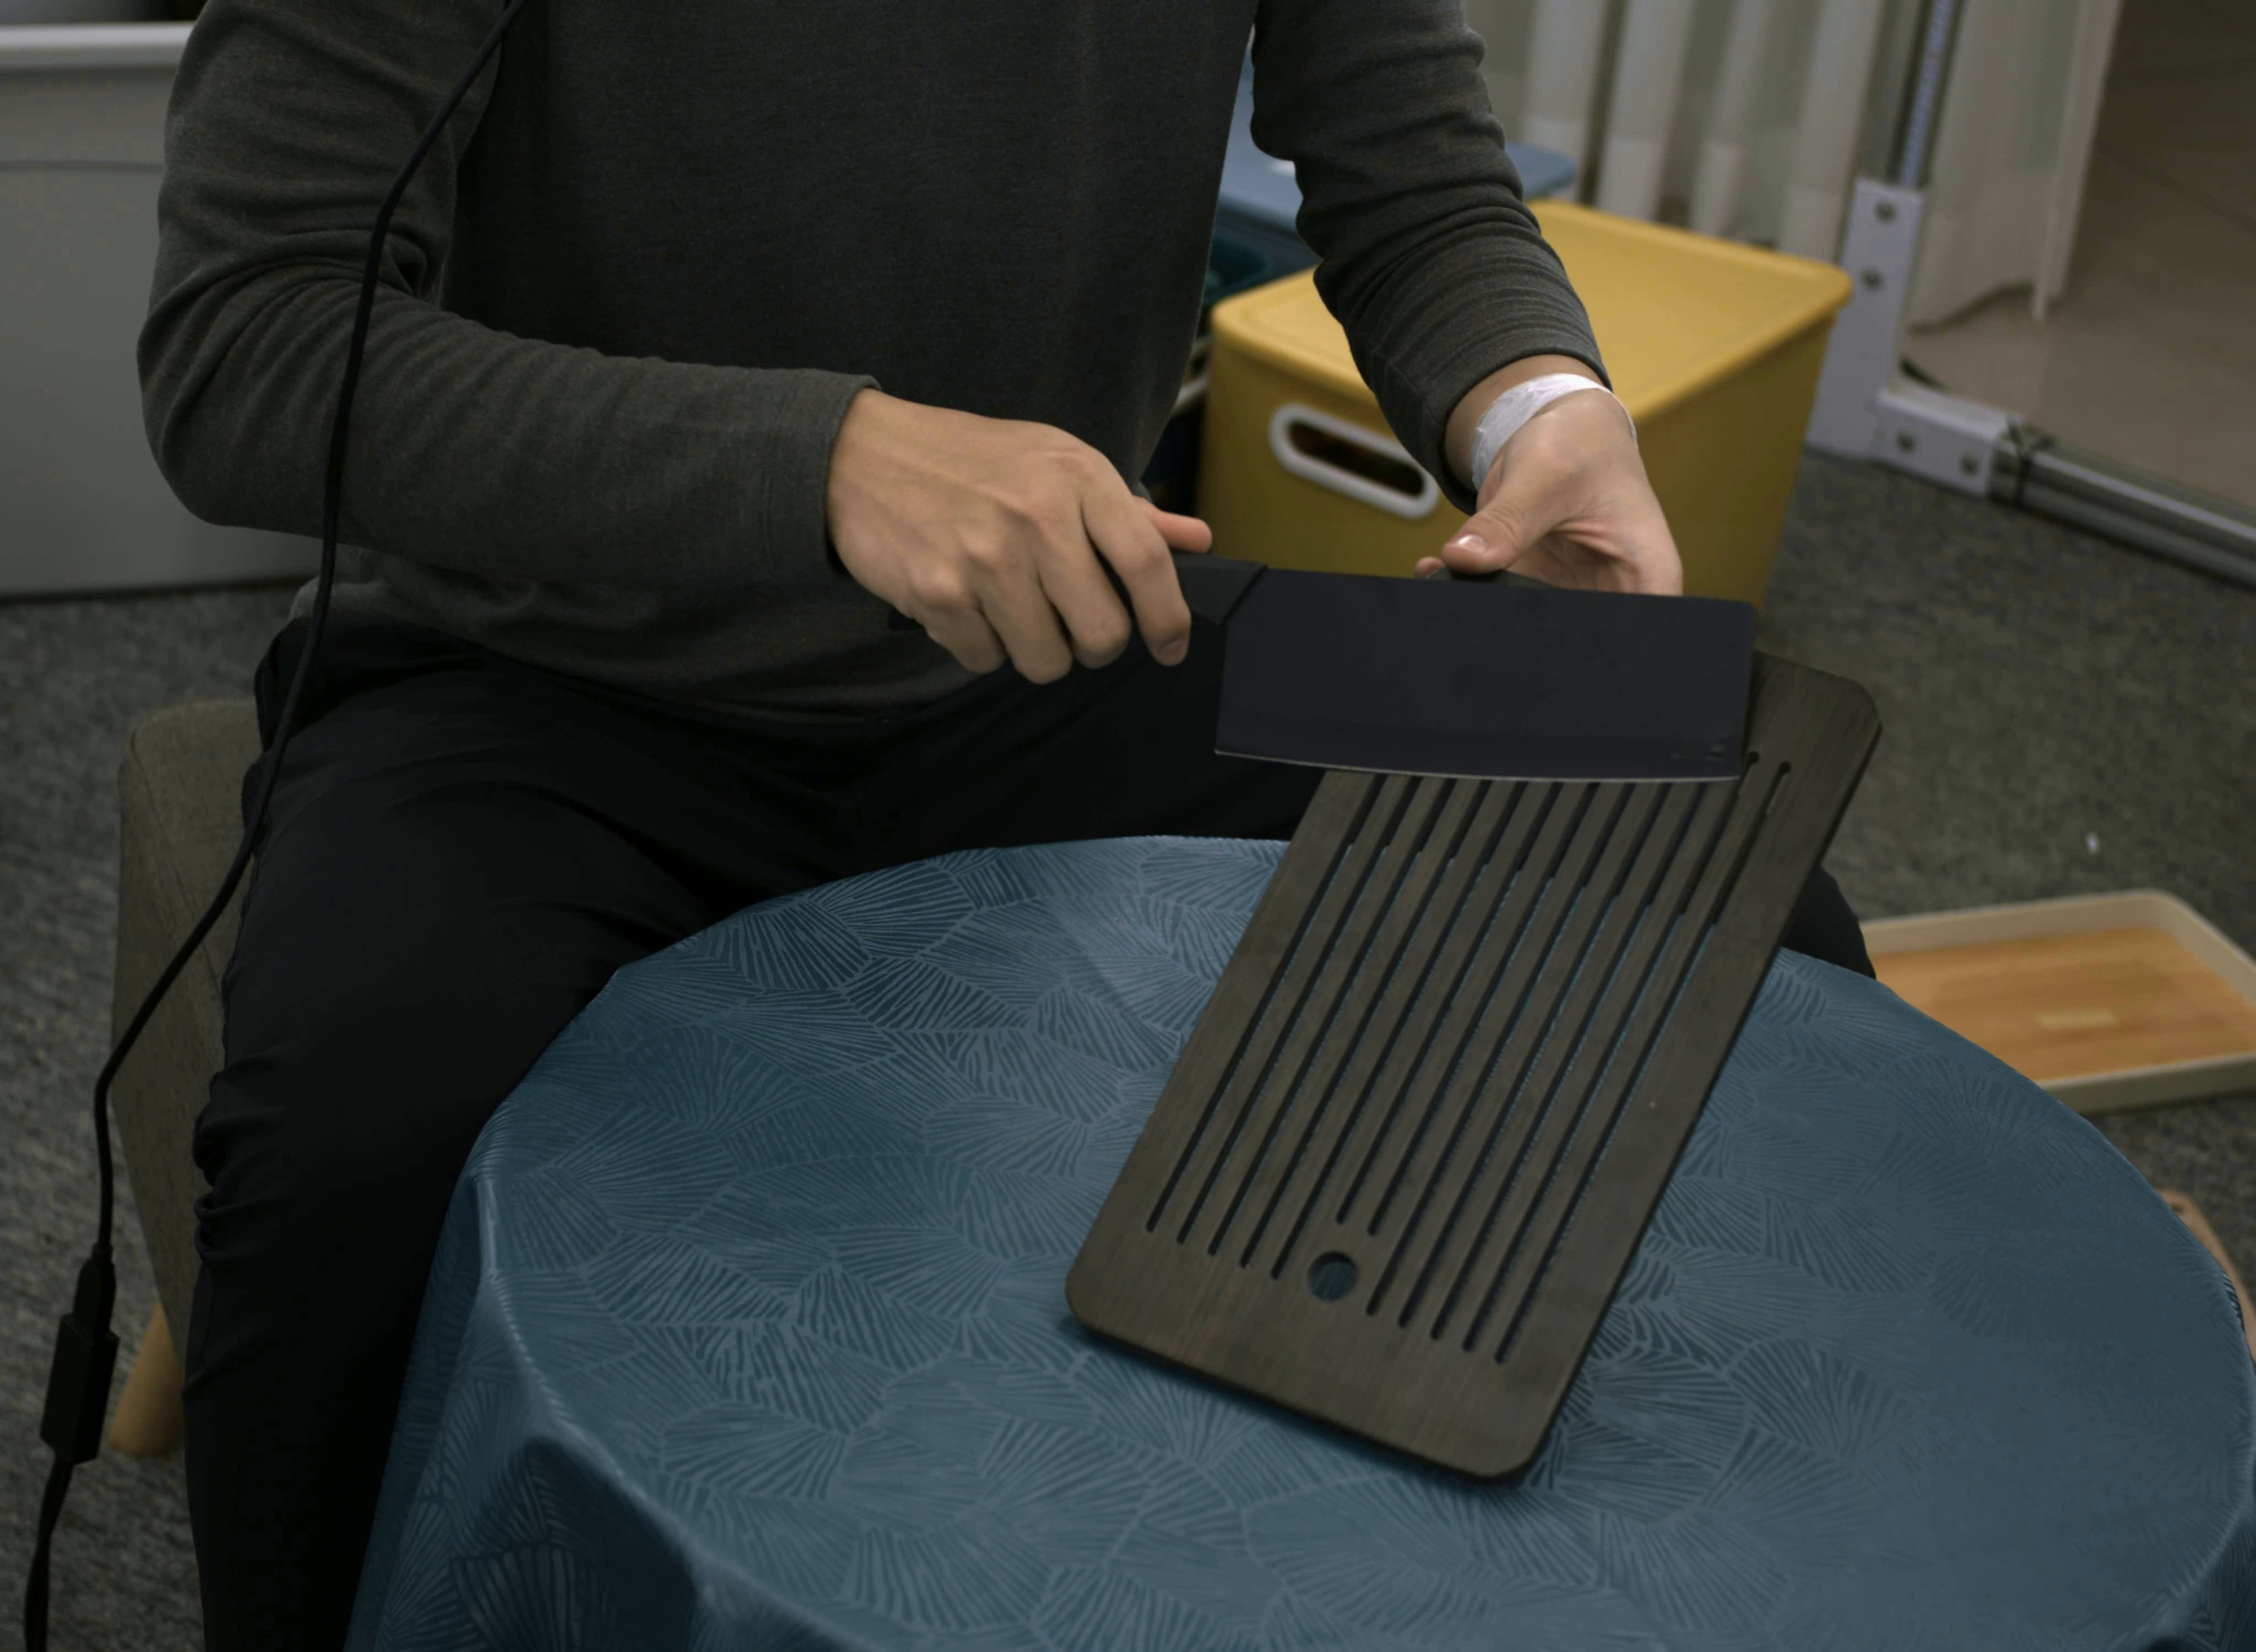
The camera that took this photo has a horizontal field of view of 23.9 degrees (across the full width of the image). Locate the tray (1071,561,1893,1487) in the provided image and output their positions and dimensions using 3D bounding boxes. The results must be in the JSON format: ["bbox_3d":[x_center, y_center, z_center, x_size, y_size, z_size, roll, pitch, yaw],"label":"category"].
[{"bbox_3d":[0.118,0.060,1.744,0.171,0.018,0.307,18,67,25],"label":"tray"}]

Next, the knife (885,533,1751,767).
[{"bbox_3d":[0.062,-0.061,1.802,0.303,0.081,0.021,9,-7,17],"label":"knife"}]
